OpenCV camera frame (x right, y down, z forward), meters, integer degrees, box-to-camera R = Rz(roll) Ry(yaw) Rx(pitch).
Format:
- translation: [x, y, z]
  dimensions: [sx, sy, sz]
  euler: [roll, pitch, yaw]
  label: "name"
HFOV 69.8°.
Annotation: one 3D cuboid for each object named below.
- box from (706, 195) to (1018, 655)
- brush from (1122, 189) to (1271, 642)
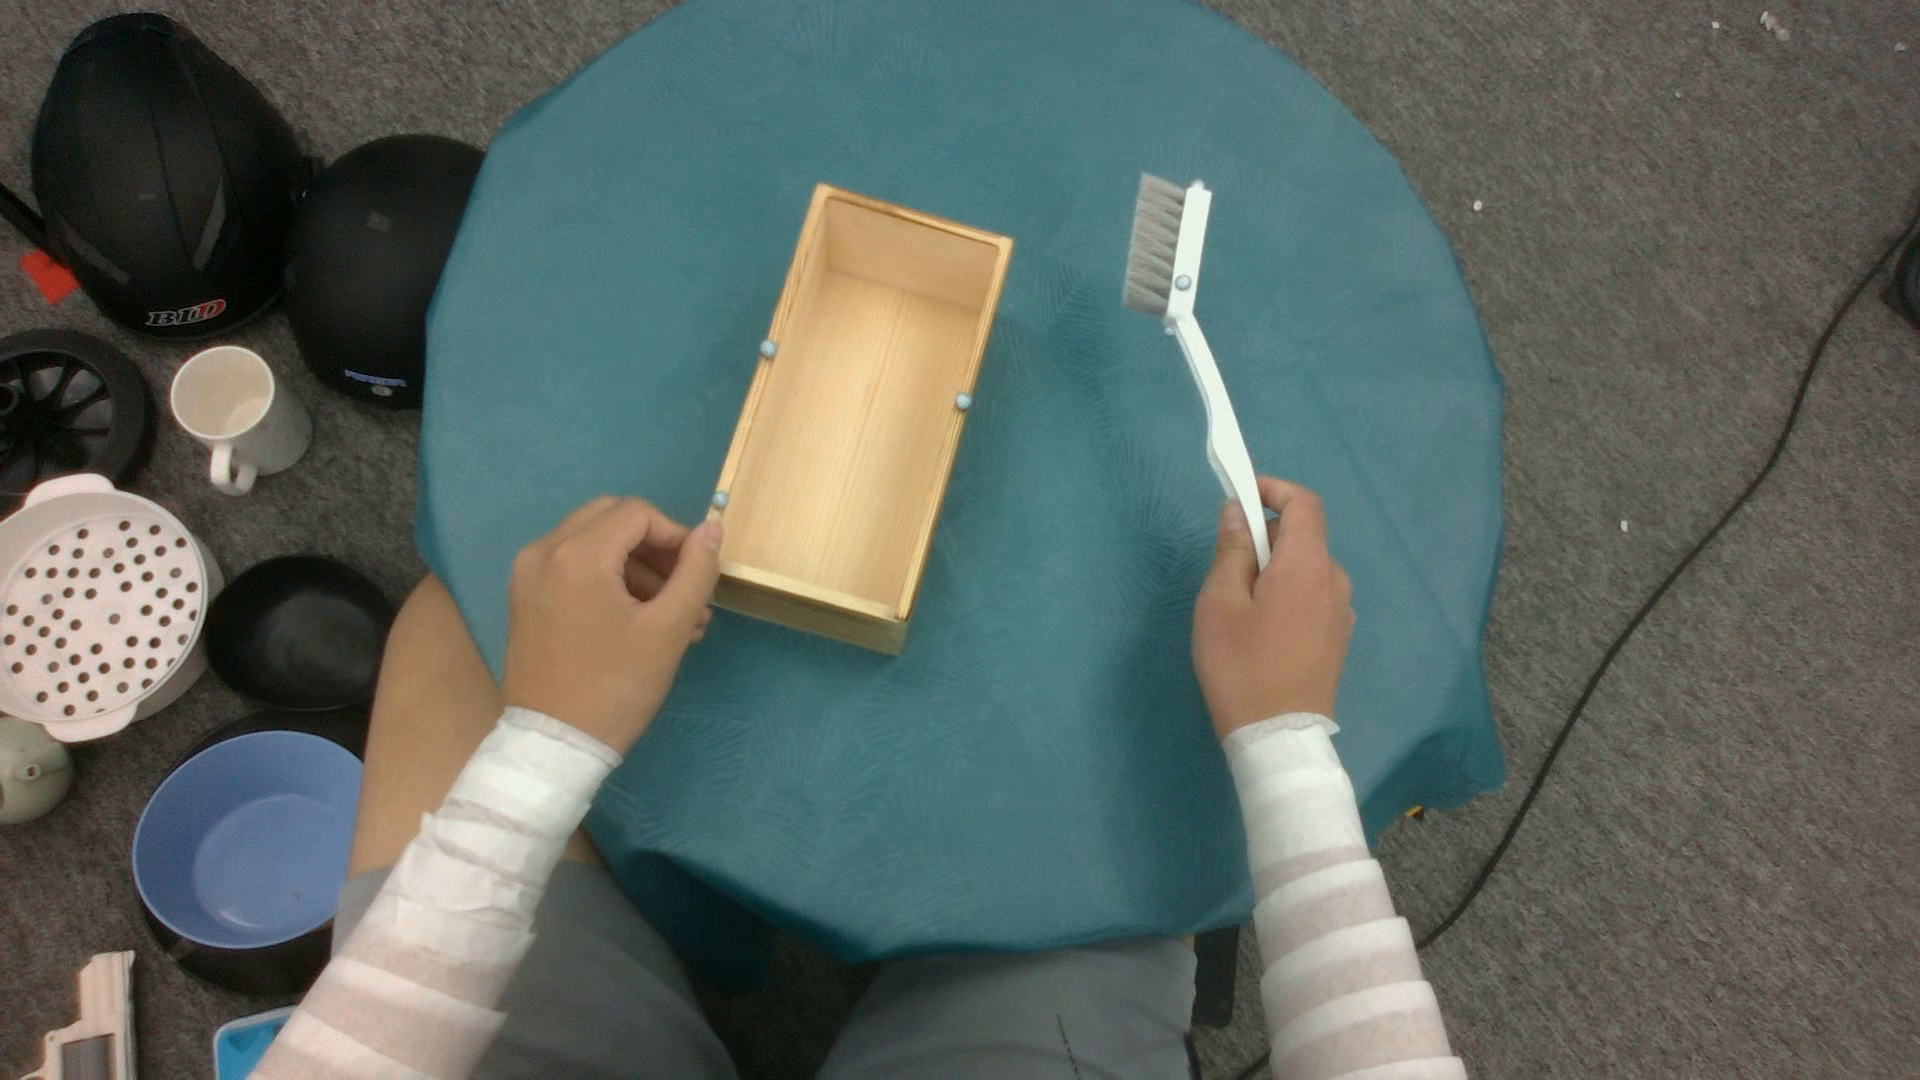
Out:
- translation: [-0.049, -0.060, 0.724]
  dimensions: [0.107, 0.080, 0.212]
  euler: [15, 73, -1]
  label: "box"
- translation: [0.119, -0.065, 0.713]
  dimensions: [0.050, 0.034, 0.244]
  euler: [-8, 81, 0]
  label: "brush"
